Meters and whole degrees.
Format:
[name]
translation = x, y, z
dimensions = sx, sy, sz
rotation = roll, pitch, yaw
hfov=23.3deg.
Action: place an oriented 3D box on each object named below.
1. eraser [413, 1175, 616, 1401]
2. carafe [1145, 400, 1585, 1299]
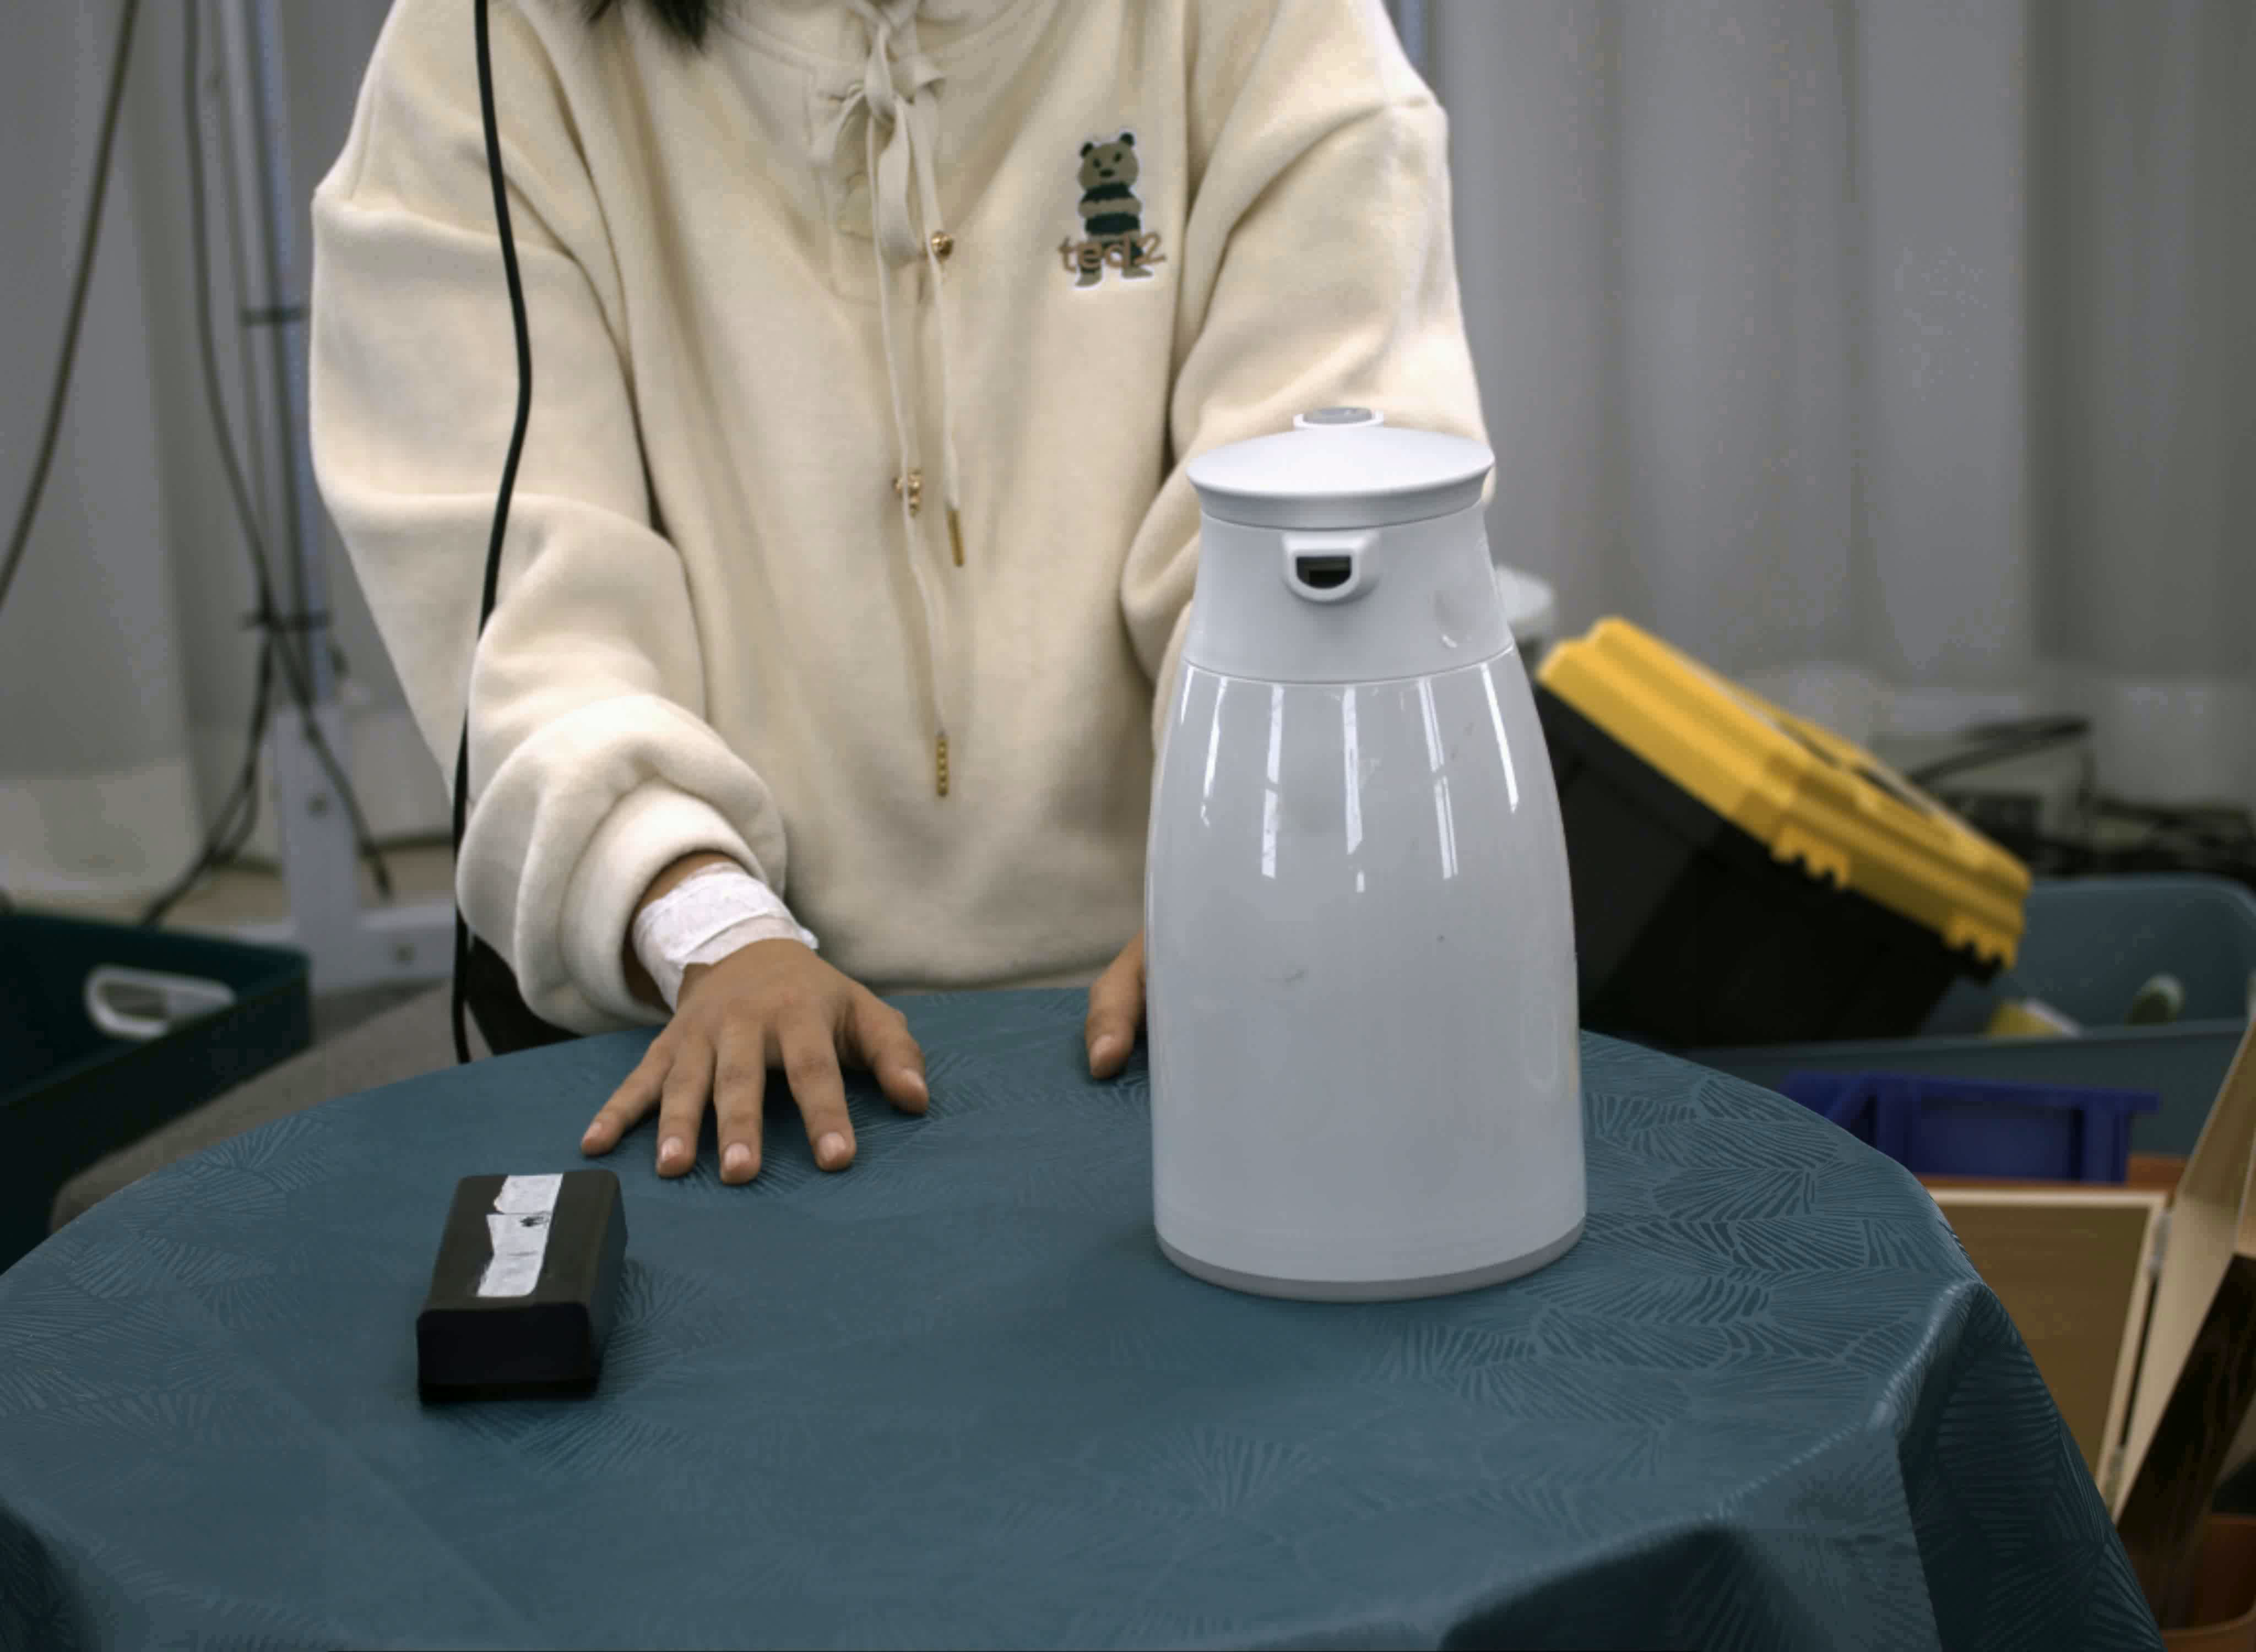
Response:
[eraser]
translation = -0.179, 0.136, 1.614
dimensions = 0.053, 0.030, 0.126
rotation = -1, 15, -3
[carafe]
translation = 0.069, -0.002, 1.657
dimensions = 0.132, 0.248, 0.168
rotation = -2, 13, 6
